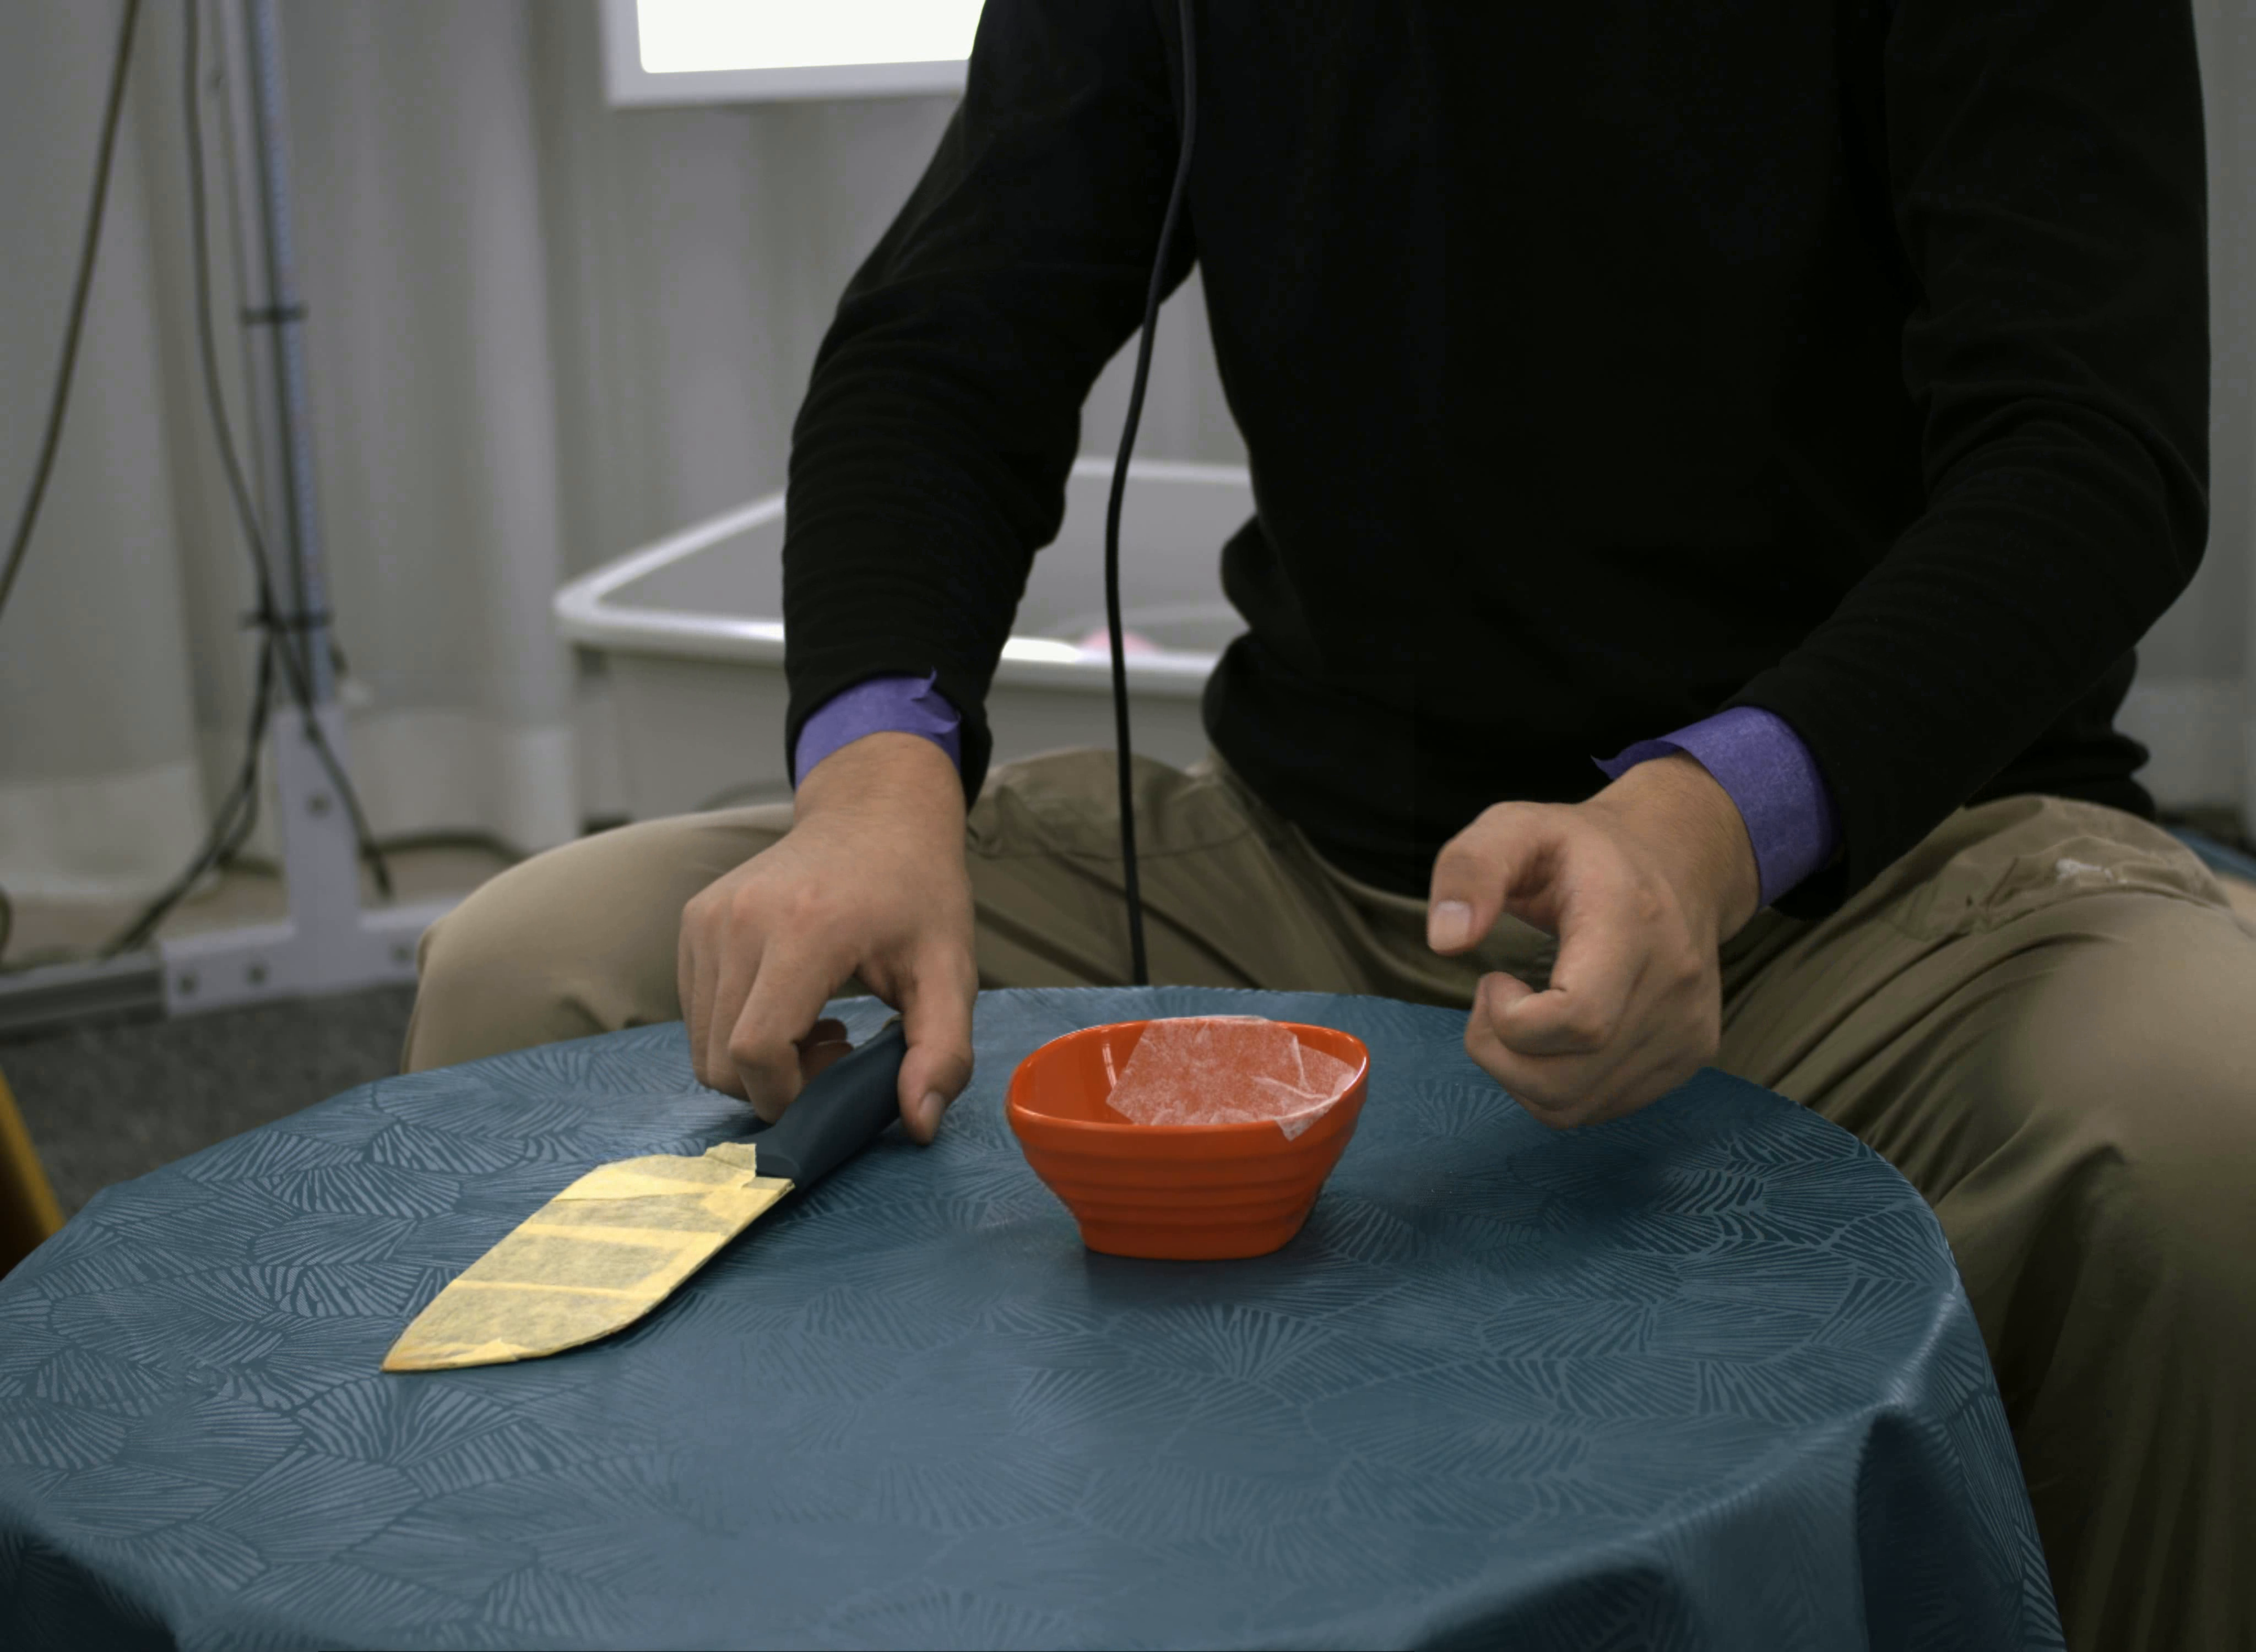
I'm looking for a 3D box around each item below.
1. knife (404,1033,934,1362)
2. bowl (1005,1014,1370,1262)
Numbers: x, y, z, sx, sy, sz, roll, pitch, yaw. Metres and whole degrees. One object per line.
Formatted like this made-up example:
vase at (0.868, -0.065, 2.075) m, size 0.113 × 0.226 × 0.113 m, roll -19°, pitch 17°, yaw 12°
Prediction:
knife at (-0.139, 0.116, 1.709) m, size 0.081 × 0.027 × 0.290 m, roll 5°, pitch 18°, yaw 24°
bowl at (0.020, 0.098, 1.673) m, size 0.118 × 0.051 × 0.120 m, roll -5°, pitch 16°, yaw 1°
